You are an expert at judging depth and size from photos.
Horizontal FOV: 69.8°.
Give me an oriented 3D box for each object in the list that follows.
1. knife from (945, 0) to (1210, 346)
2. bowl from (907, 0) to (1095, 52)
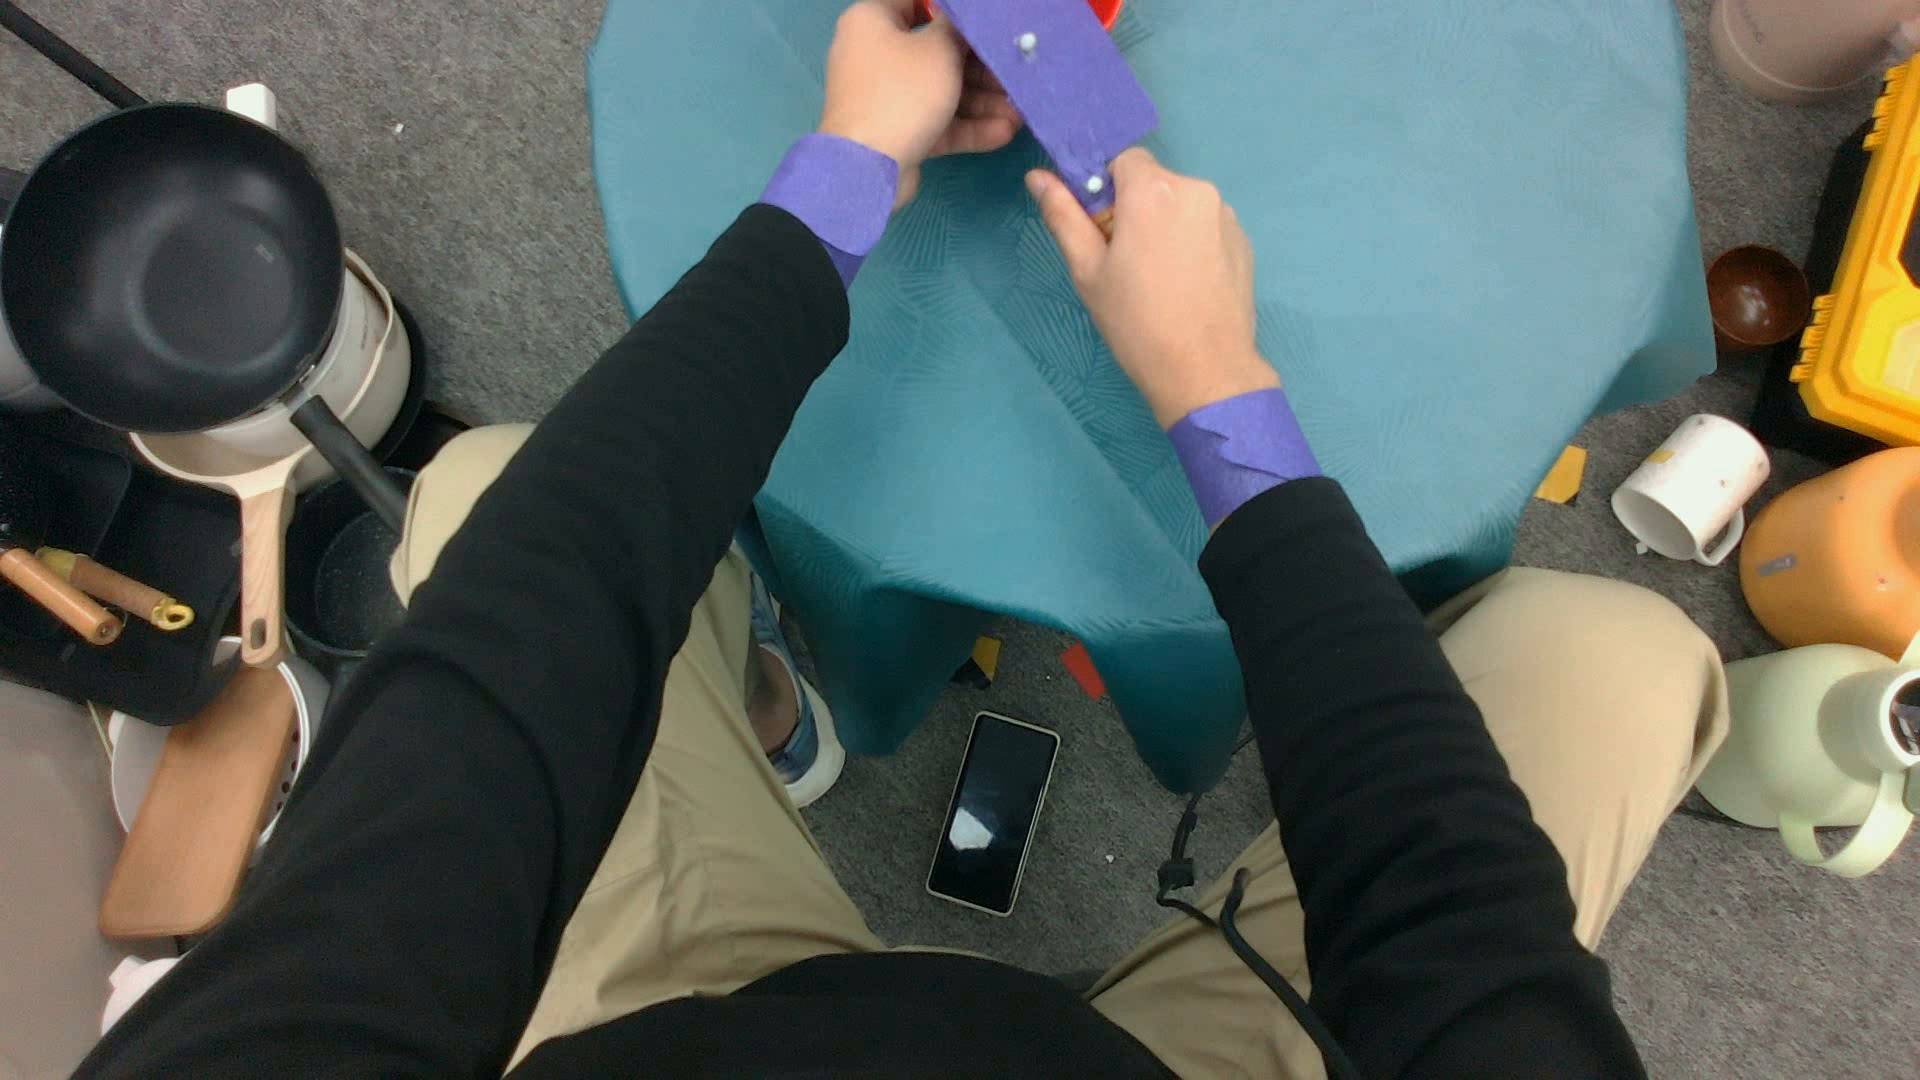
[{"bbox_3d":[0.042,-0.246,0.681,0.104,0.032,0.315,-44,104,-37],"label":"knife"},{"bbox_3d":[0.022,-0.307,0.744,0.119,0.051,0.119,0,75,0],"label":"bowl"}]
